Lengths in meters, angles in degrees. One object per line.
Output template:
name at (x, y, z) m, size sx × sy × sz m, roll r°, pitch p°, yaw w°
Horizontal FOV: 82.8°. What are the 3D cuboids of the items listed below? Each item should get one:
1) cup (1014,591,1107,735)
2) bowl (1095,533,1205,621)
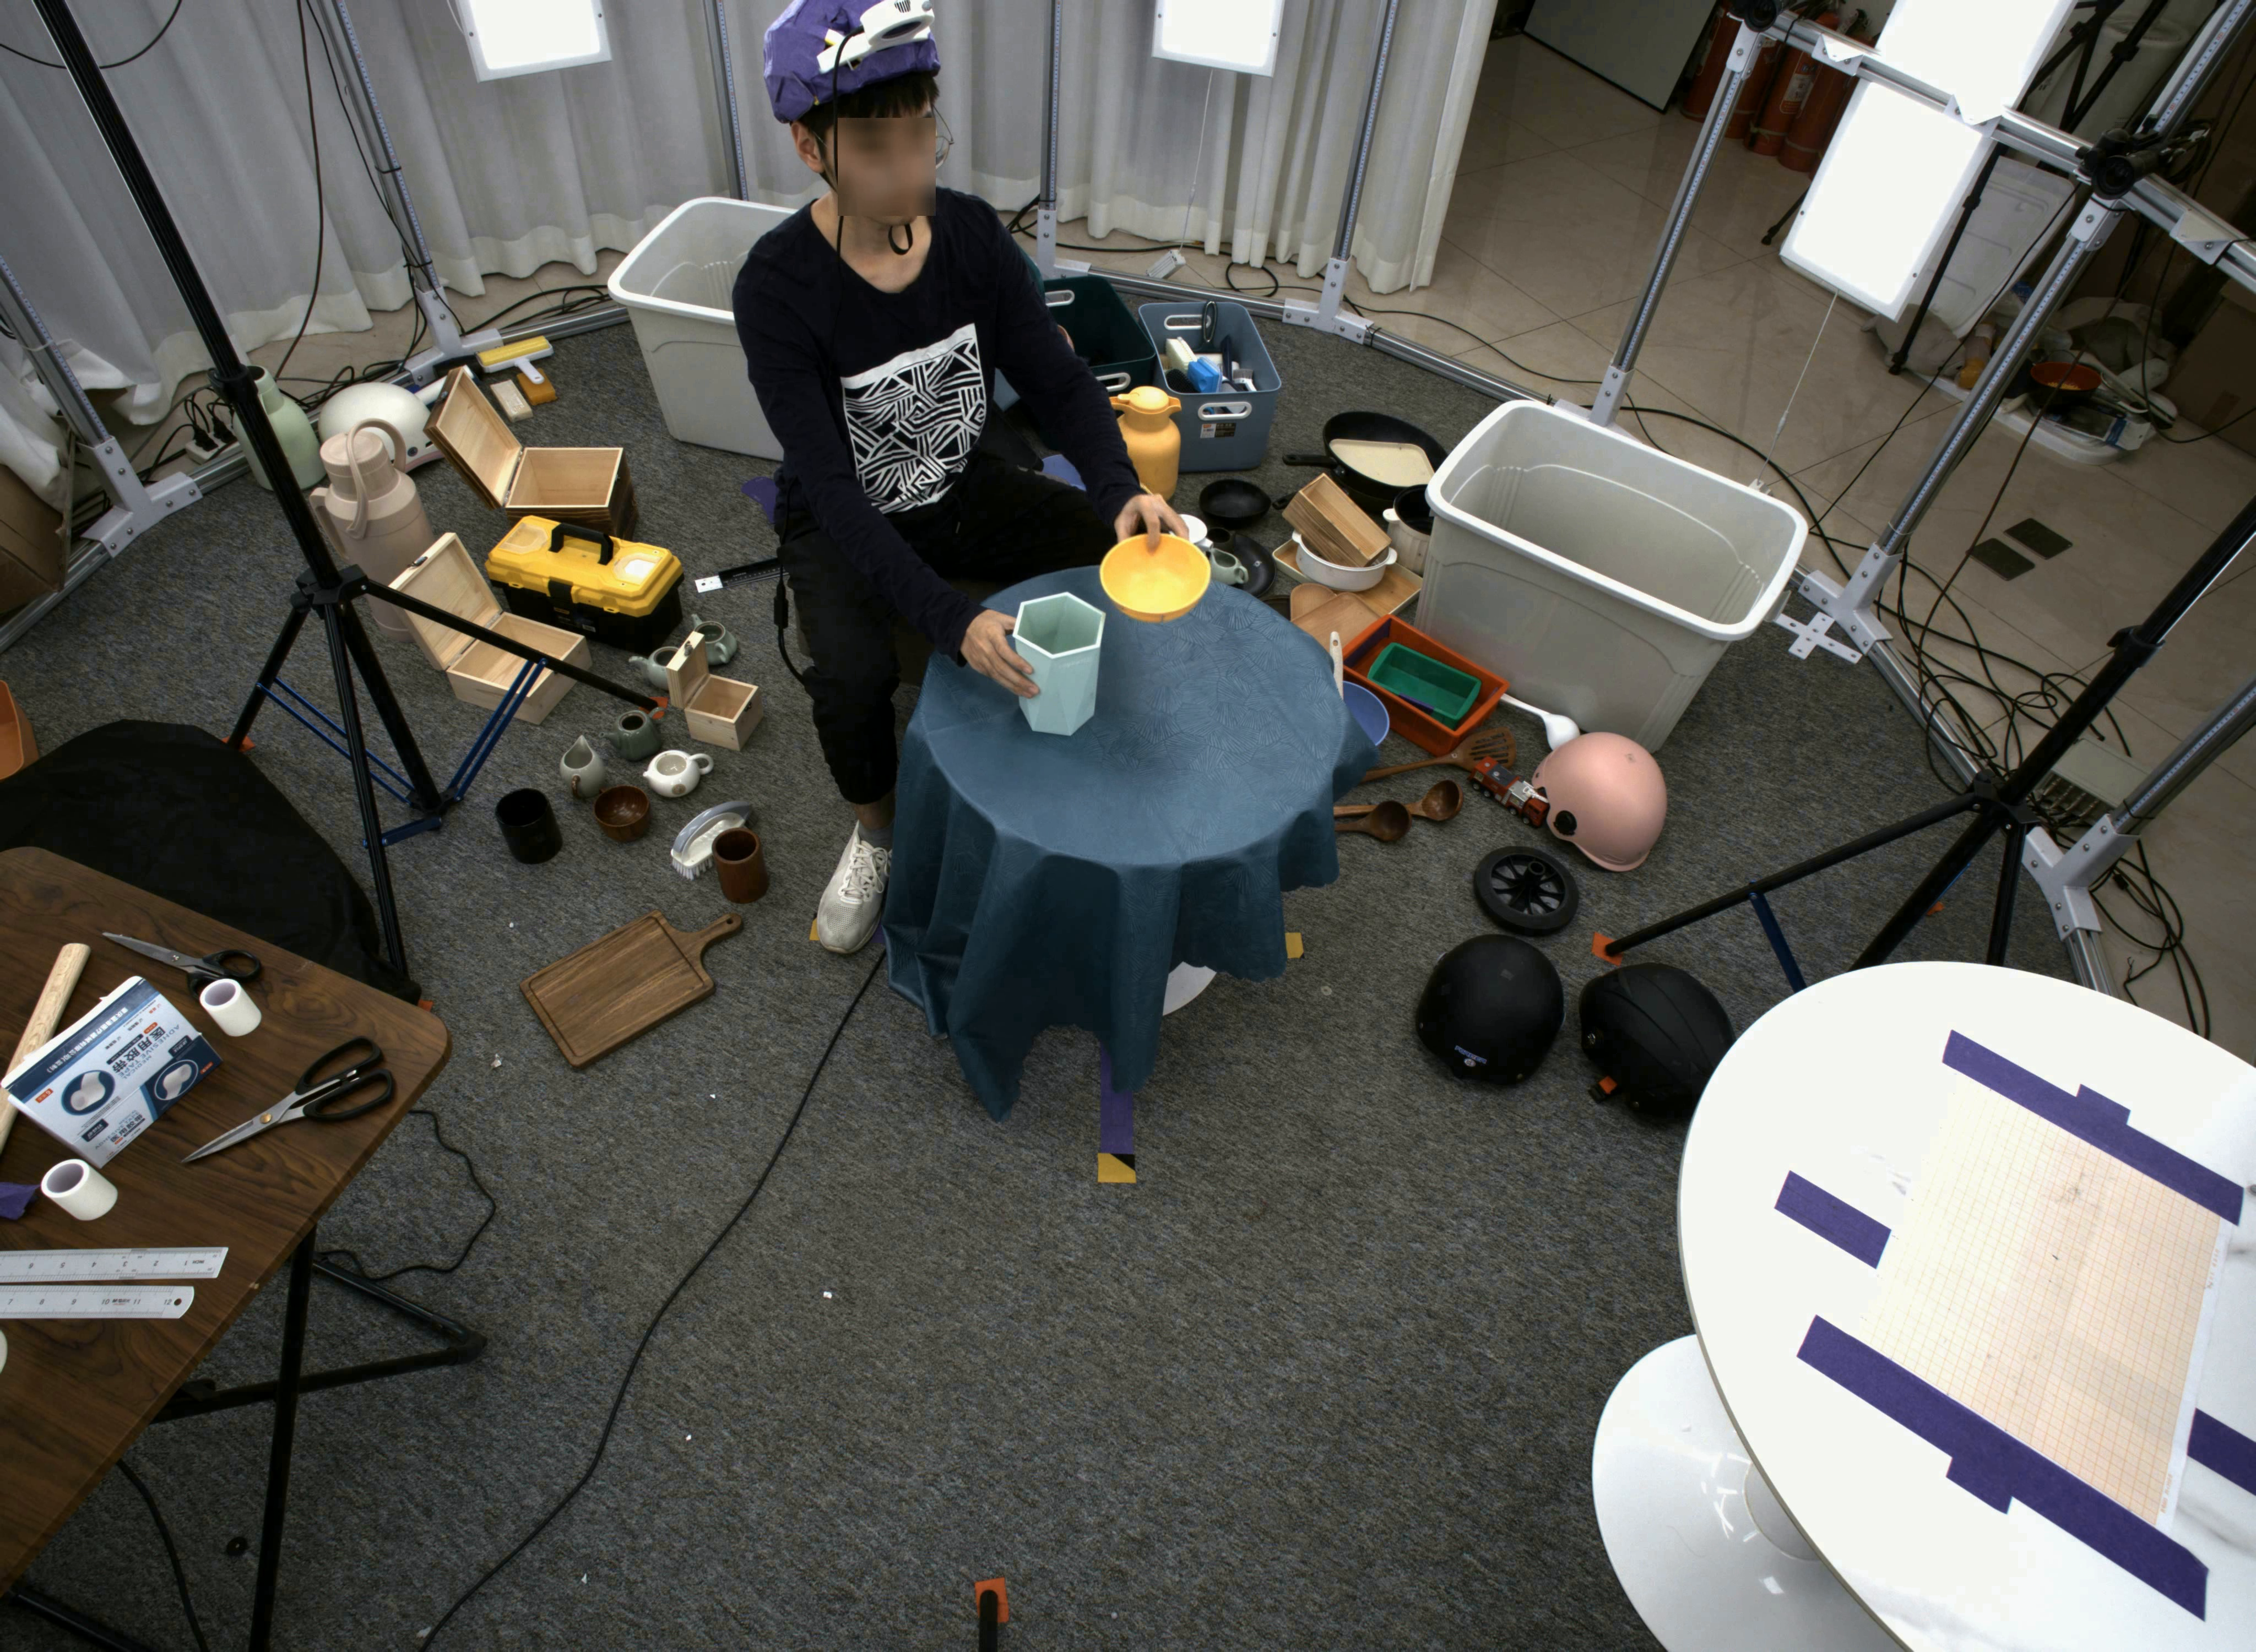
cup at (-0.093, -0.214, 1.740) m, size 0.131 × 0.159 × 0.118 m, roll -16°, pitch 52°, yaw -19°
bowl at (0.031, -0.318, 1.708) m, size 0.145 × 0.058 × 0.149 m, roll -3°, pitch 52°, yaw 3°
